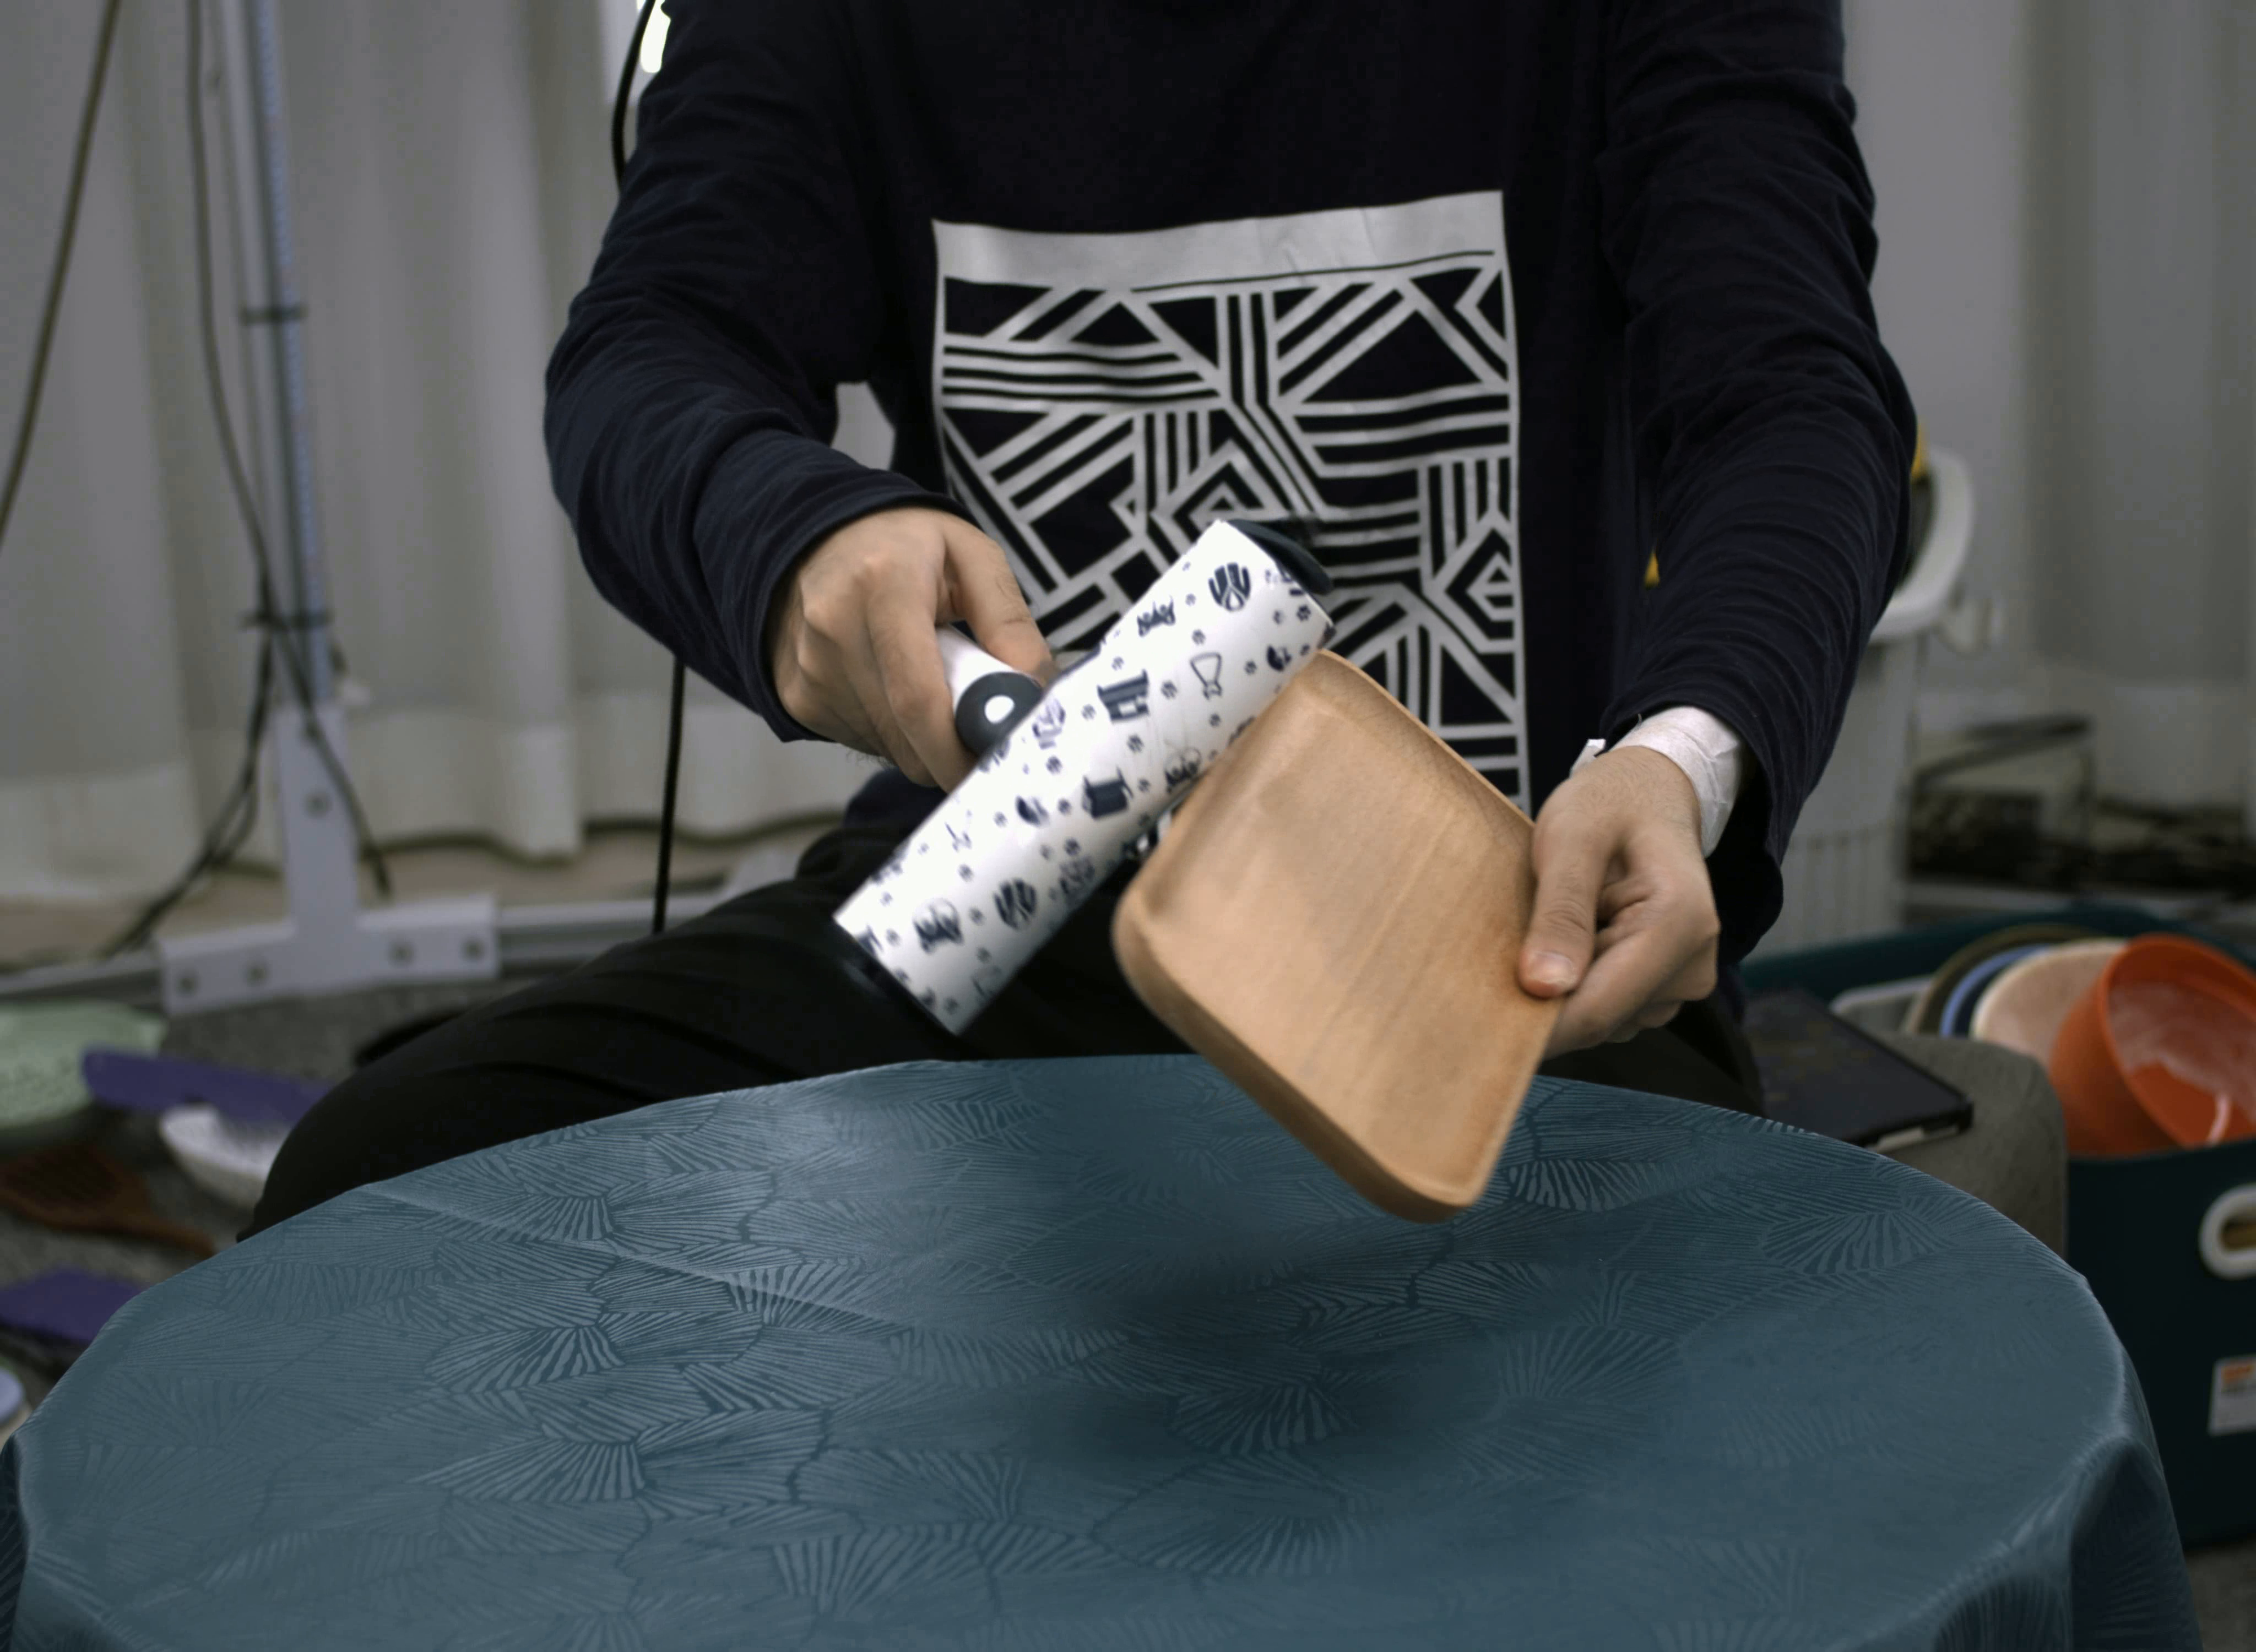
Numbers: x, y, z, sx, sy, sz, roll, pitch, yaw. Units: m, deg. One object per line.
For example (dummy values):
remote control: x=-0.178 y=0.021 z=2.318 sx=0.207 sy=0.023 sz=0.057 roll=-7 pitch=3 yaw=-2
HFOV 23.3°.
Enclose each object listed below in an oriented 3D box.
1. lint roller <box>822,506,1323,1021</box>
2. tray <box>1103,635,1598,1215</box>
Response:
lint roller: x=-0.044 y=-0.036 z=1.650 sx=0.176 sy=0.050 sz=0.249 roll=-47 pitch=20 yaw=-4
tray: x=0.066 y=0.025 z=1.569 sx=0.023 sy=0.130 sz=0.252 roll=-43 pitch=3 yaw=24
